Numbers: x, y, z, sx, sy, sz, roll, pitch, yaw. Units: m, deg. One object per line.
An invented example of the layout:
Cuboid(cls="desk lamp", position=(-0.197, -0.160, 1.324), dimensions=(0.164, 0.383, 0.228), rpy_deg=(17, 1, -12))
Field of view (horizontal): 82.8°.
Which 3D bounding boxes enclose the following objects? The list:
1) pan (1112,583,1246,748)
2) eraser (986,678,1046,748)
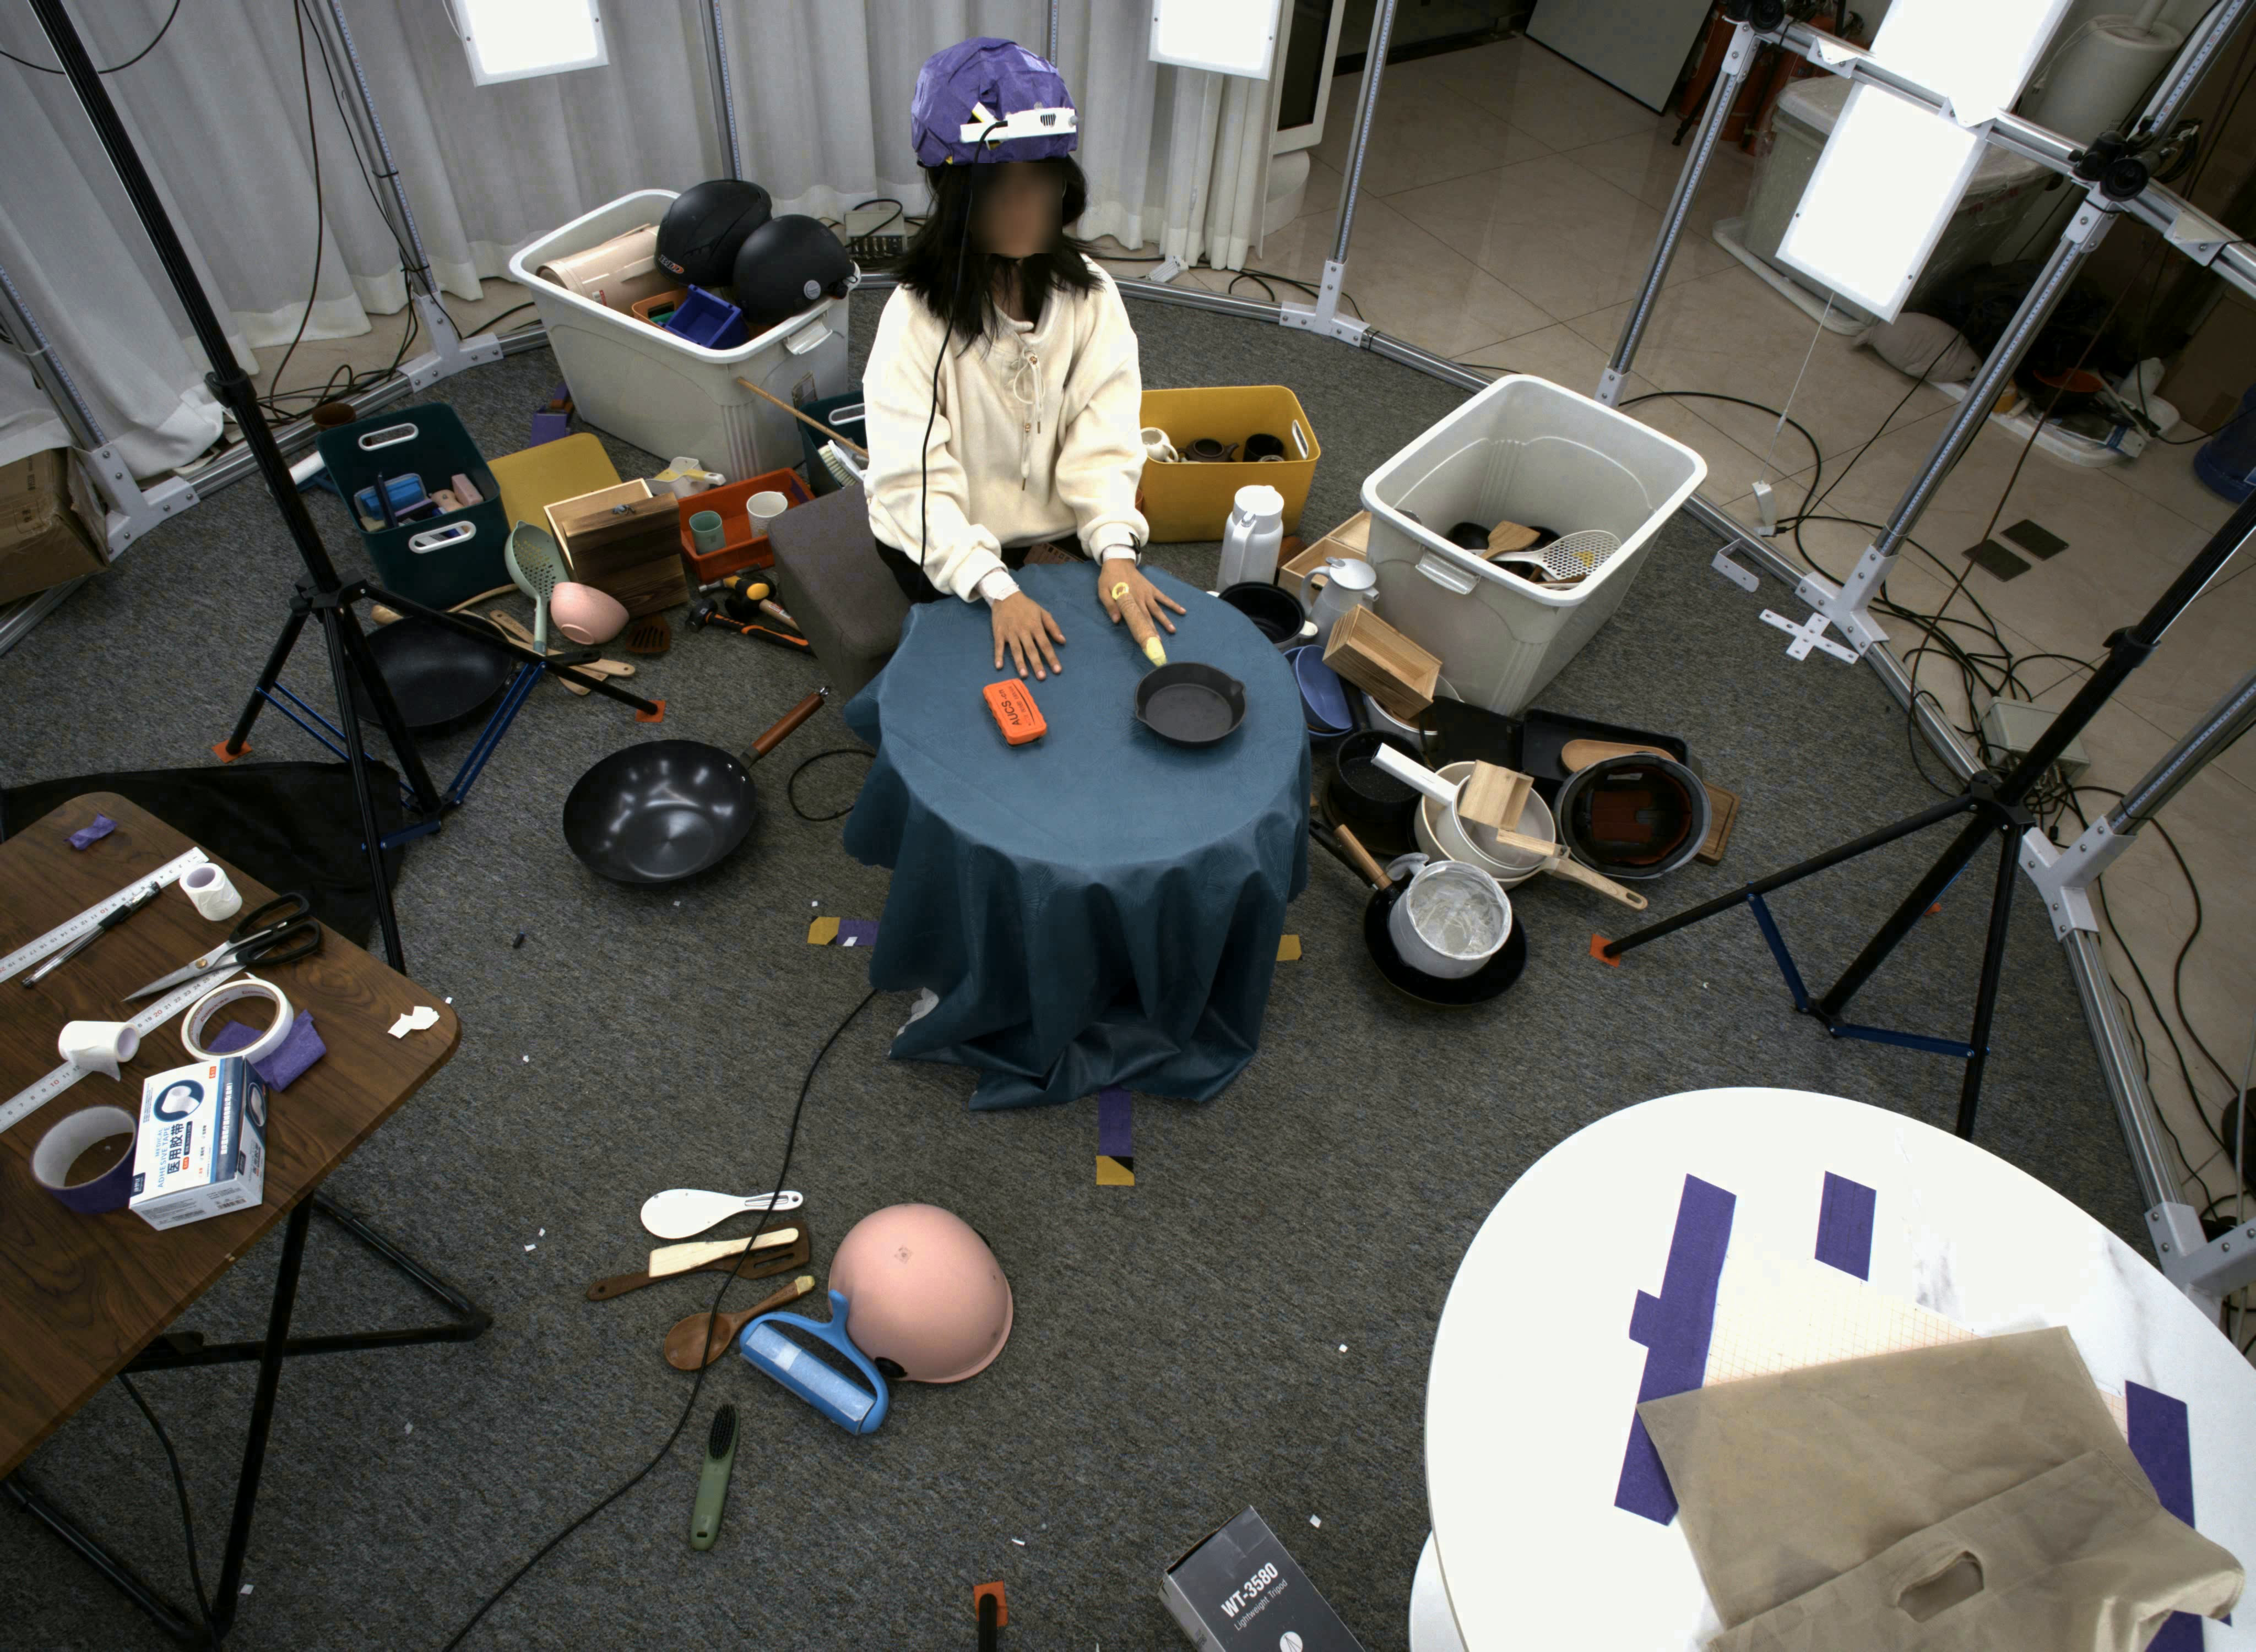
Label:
Cuboid(cls="pan", position=(0.052, -0.232, 1.842), dimensions=(0.169, 0.048, 0.331), rpy_deg=(-17, 54, -17))
Cuboid(cls="eraser", position=(-0.156, -0.158, 1.781), dimensions=(0.059, 0.022, 0.110), rpy_deg=(-15, 52, -17))
